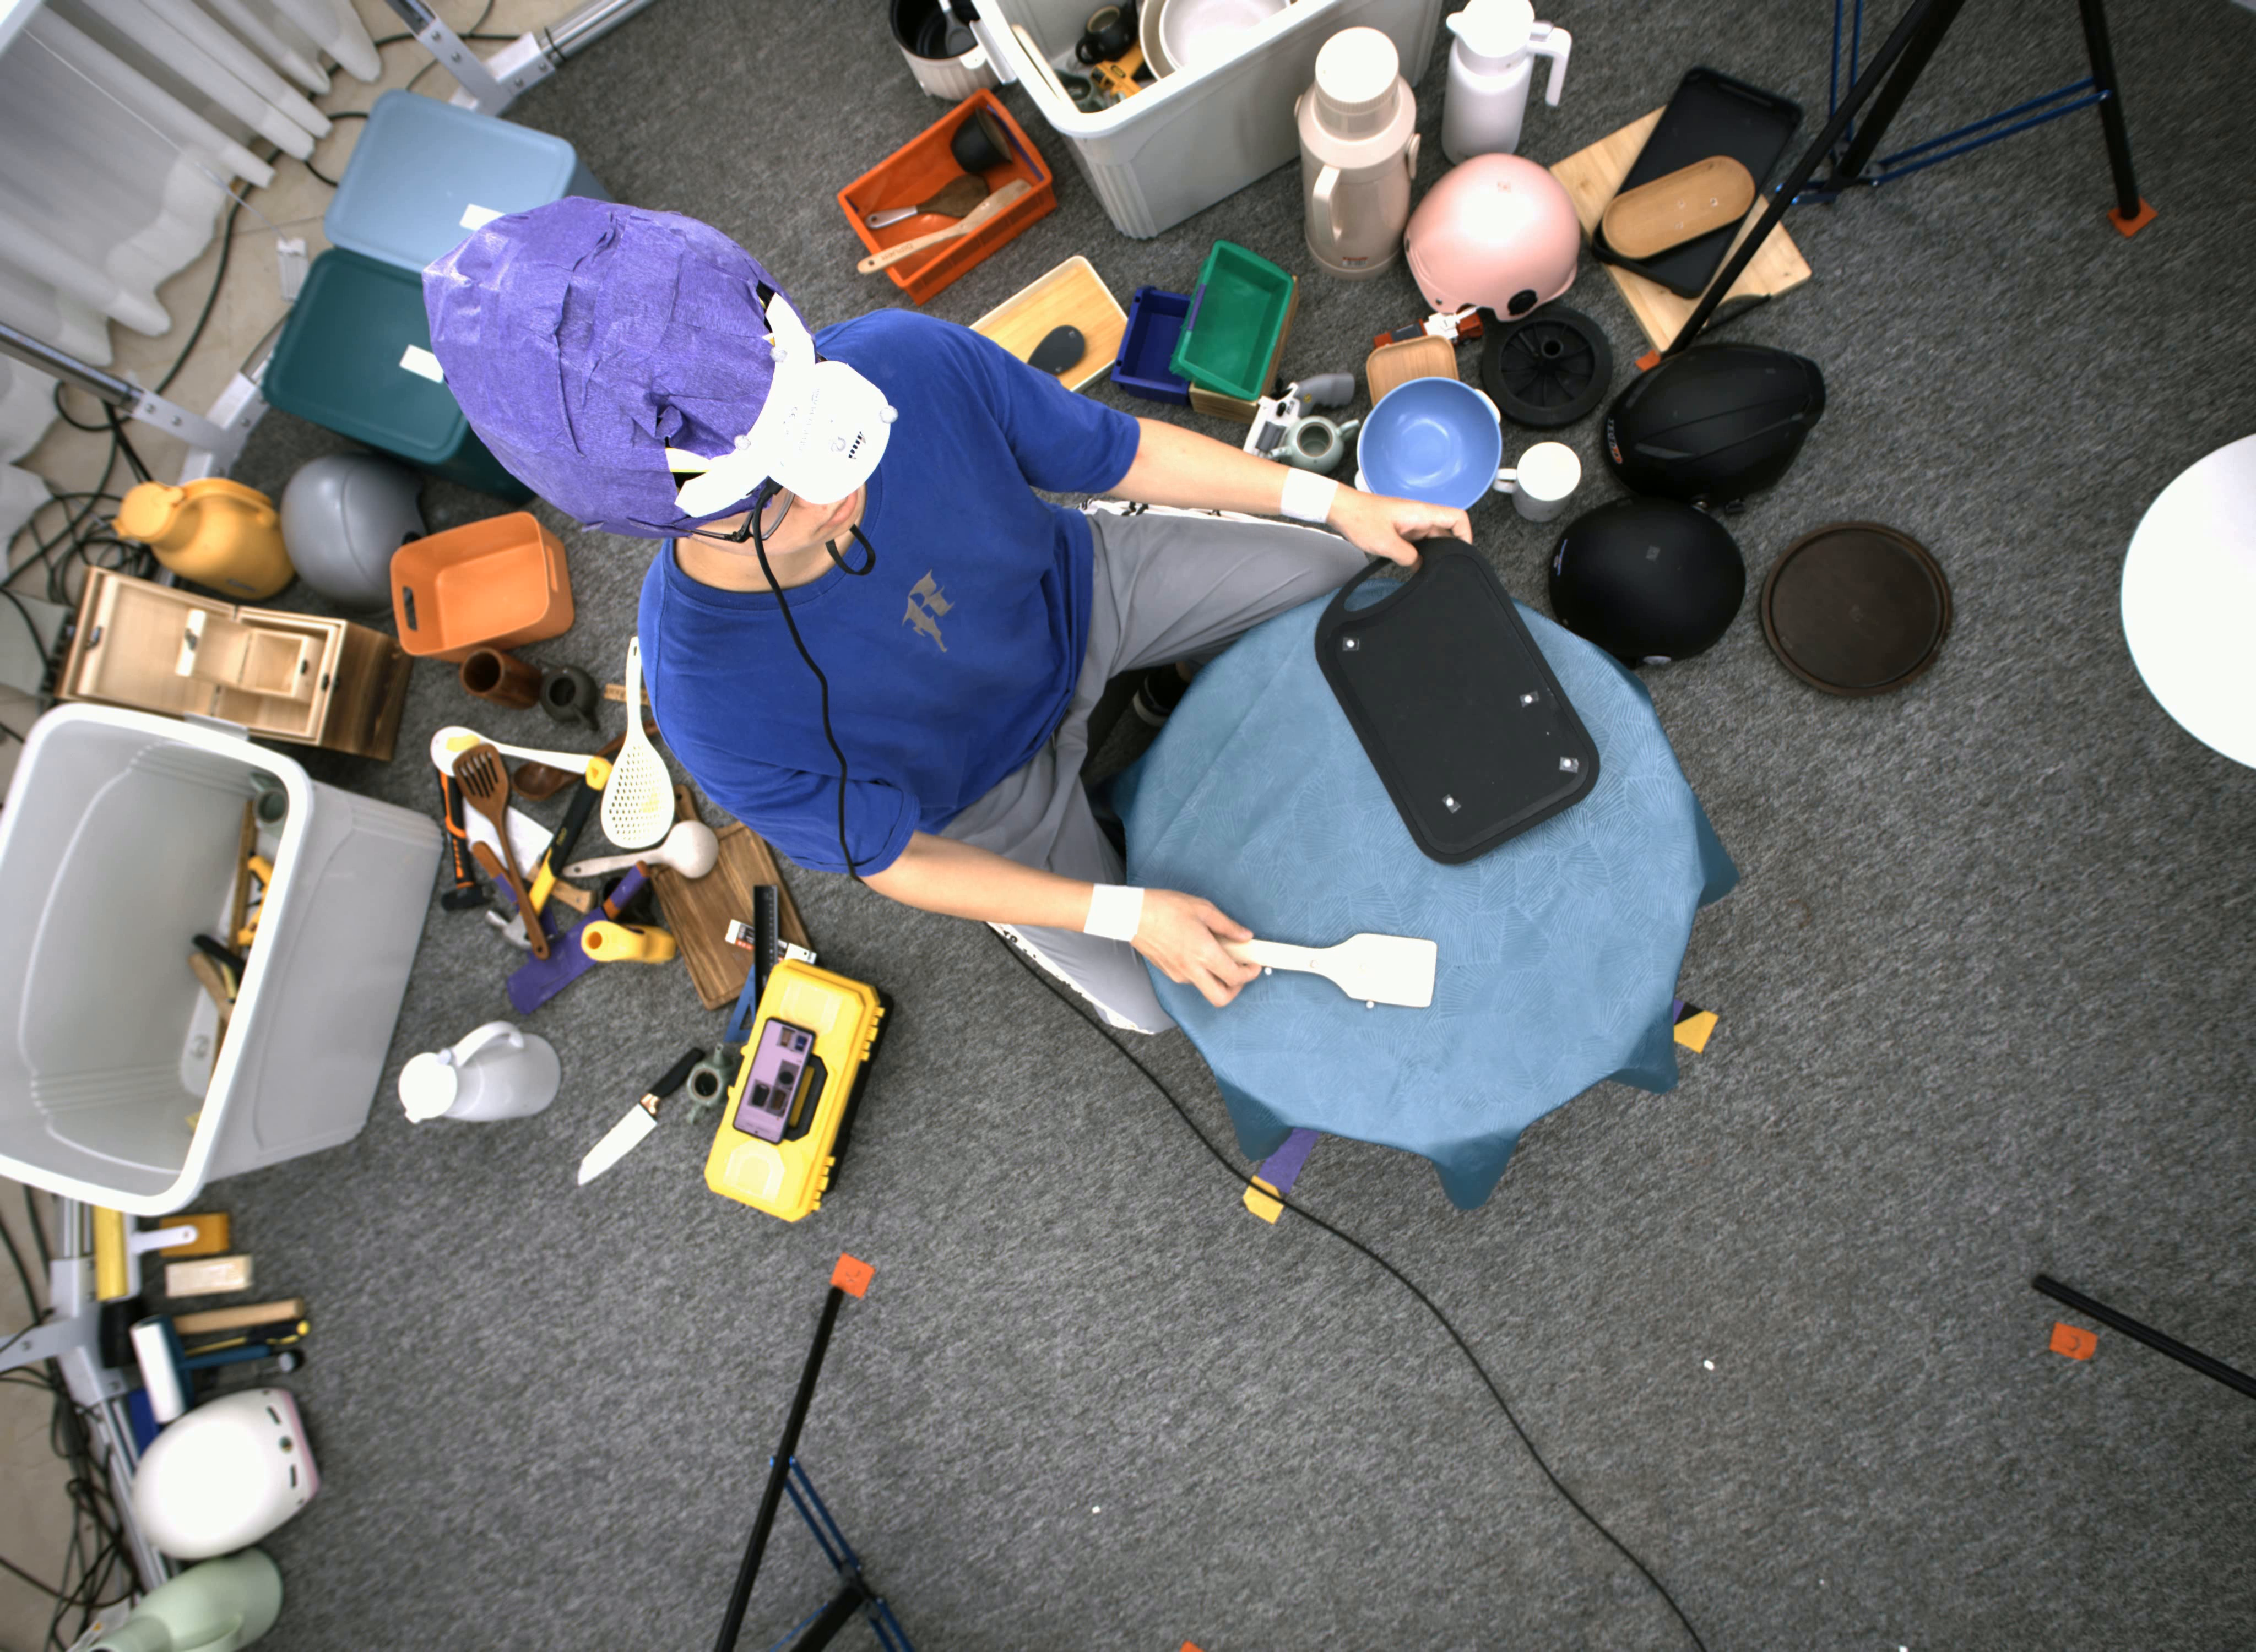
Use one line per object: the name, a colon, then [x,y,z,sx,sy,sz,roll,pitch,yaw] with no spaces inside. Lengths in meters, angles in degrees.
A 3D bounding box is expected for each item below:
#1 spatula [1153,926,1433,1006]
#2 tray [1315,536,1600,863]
spatula: [0.171,0.137,1.455,0.293,0.011,0.072,7,87,4]
tray: [0.330,-0.138,1.419,0.214,0.009,0.323,-30,82,27]
